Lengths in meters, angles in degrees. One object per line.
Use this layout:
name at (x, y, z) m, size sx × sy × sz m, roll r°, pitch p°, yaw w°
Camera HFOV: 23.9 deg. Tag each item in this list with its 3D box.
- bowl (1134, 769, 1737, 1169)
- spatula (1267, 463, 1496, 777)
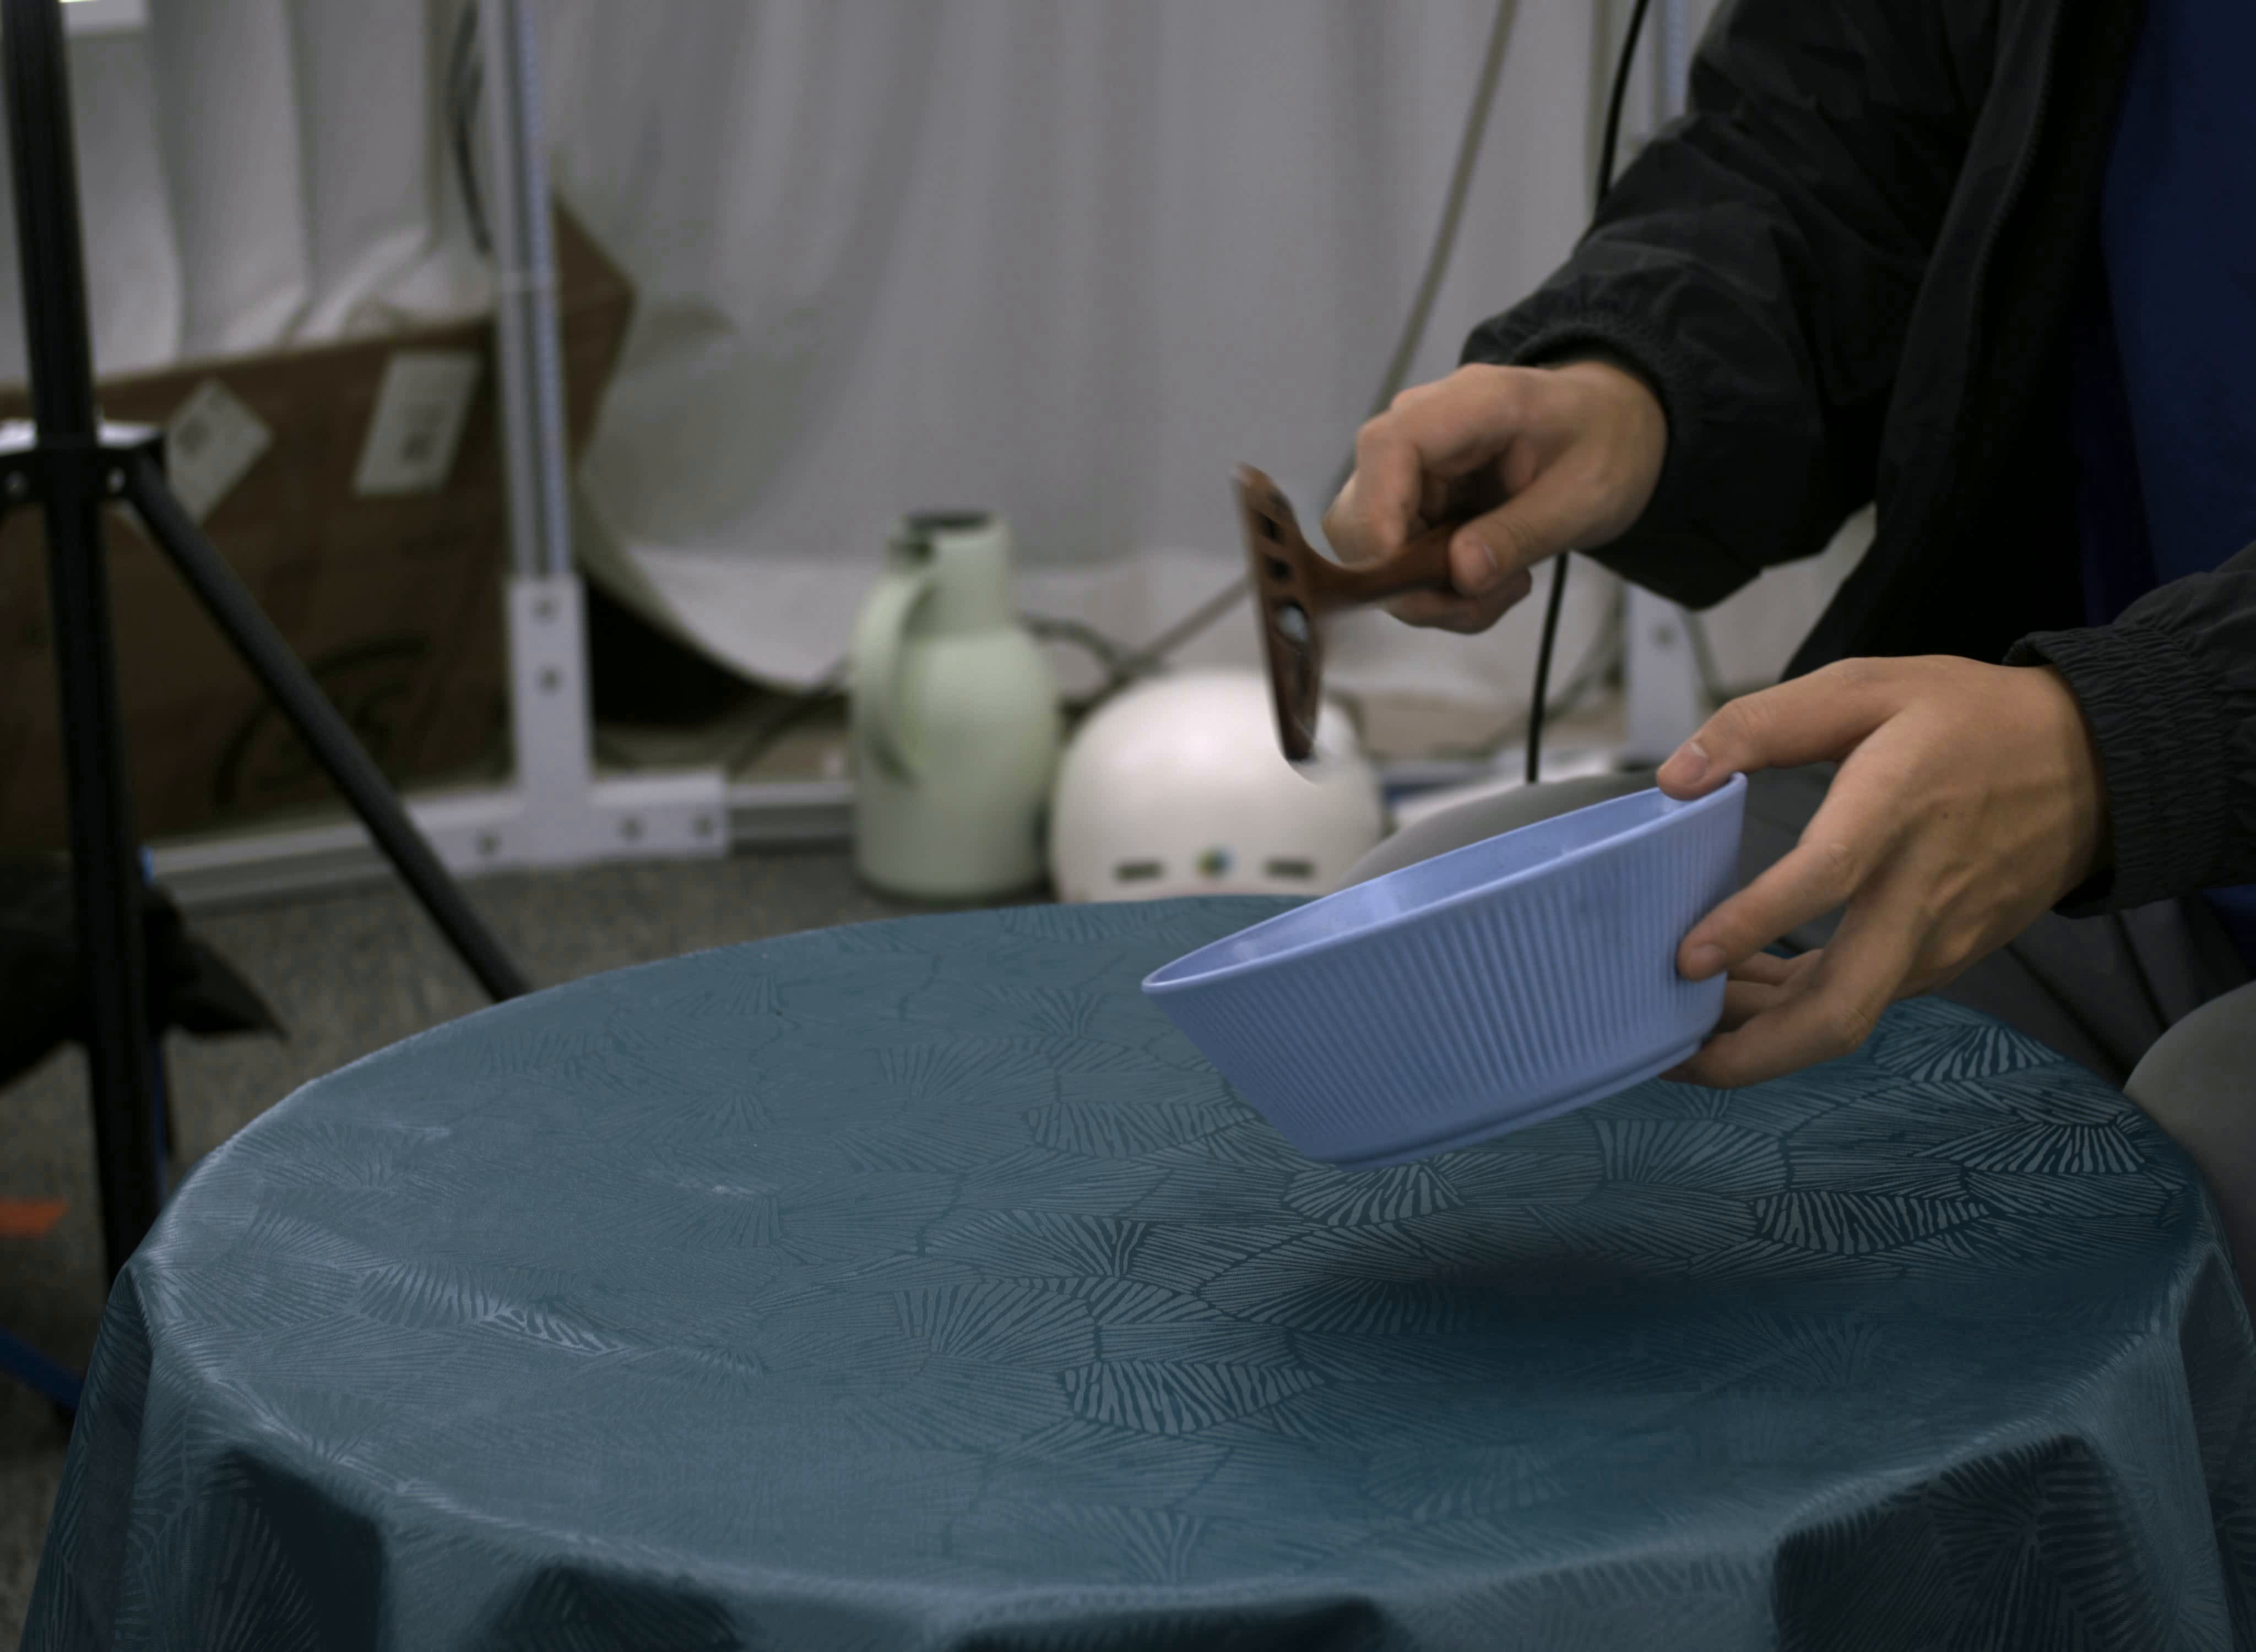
bowl at (0.094, 0.044, 1.456) m, size 0.175 × 0.070 × 0.176 m, roll -19°, pitch 1°, yaw -1°
spatula at (0.076, -0.072, 1.609) m, size 0.024 × 0.086 × 0.383 m, roll -5°, pitch 5°, yaw 13°
